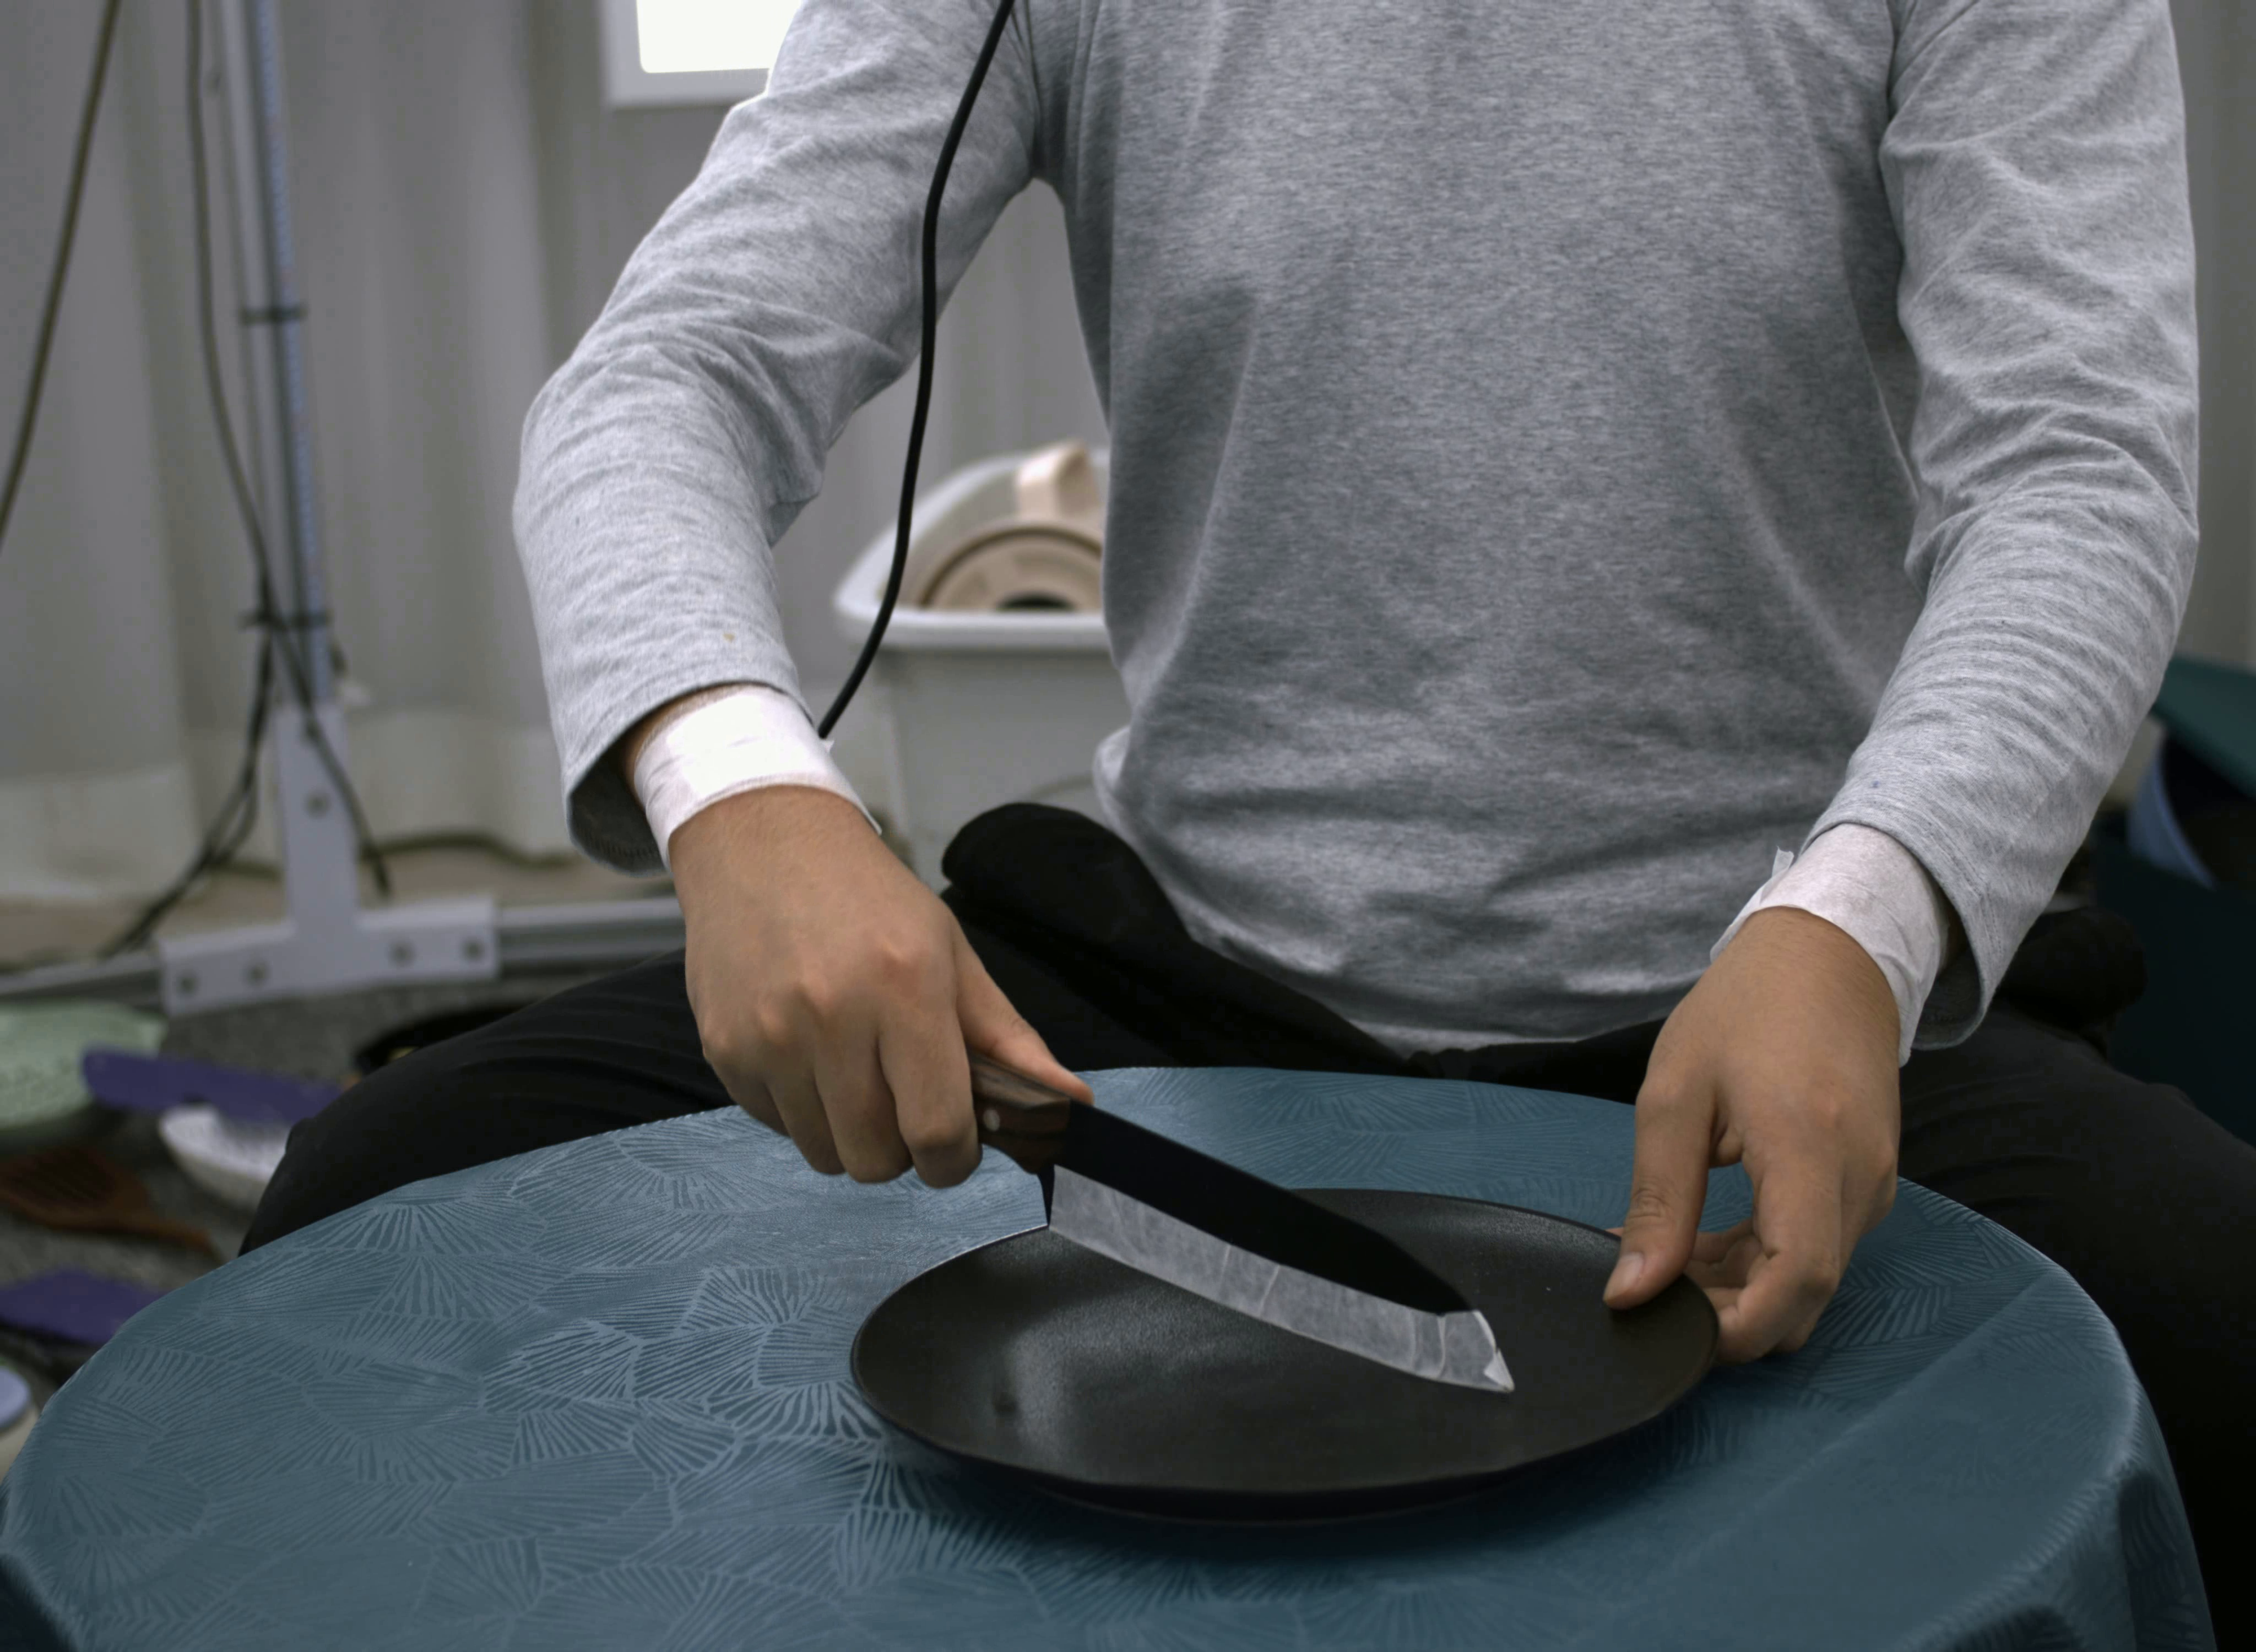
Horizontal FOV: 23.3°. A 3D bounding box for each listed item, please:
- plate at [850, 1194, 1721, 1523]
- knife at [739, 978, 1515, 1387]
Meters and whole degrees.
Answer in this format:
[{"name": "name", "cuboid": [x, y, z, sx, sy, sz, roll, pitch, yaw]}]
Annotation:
[{"name": "plate", "cuboid": [0.044, 0.151, 1.528, 0.243, 0.023, 0.246, -3, 15, 0]}, {"name": "knife", "cuboid": [-0.004, 0.101, 1.581, 0.291, 0.050, 0.020, 24, 29, 34]}]
